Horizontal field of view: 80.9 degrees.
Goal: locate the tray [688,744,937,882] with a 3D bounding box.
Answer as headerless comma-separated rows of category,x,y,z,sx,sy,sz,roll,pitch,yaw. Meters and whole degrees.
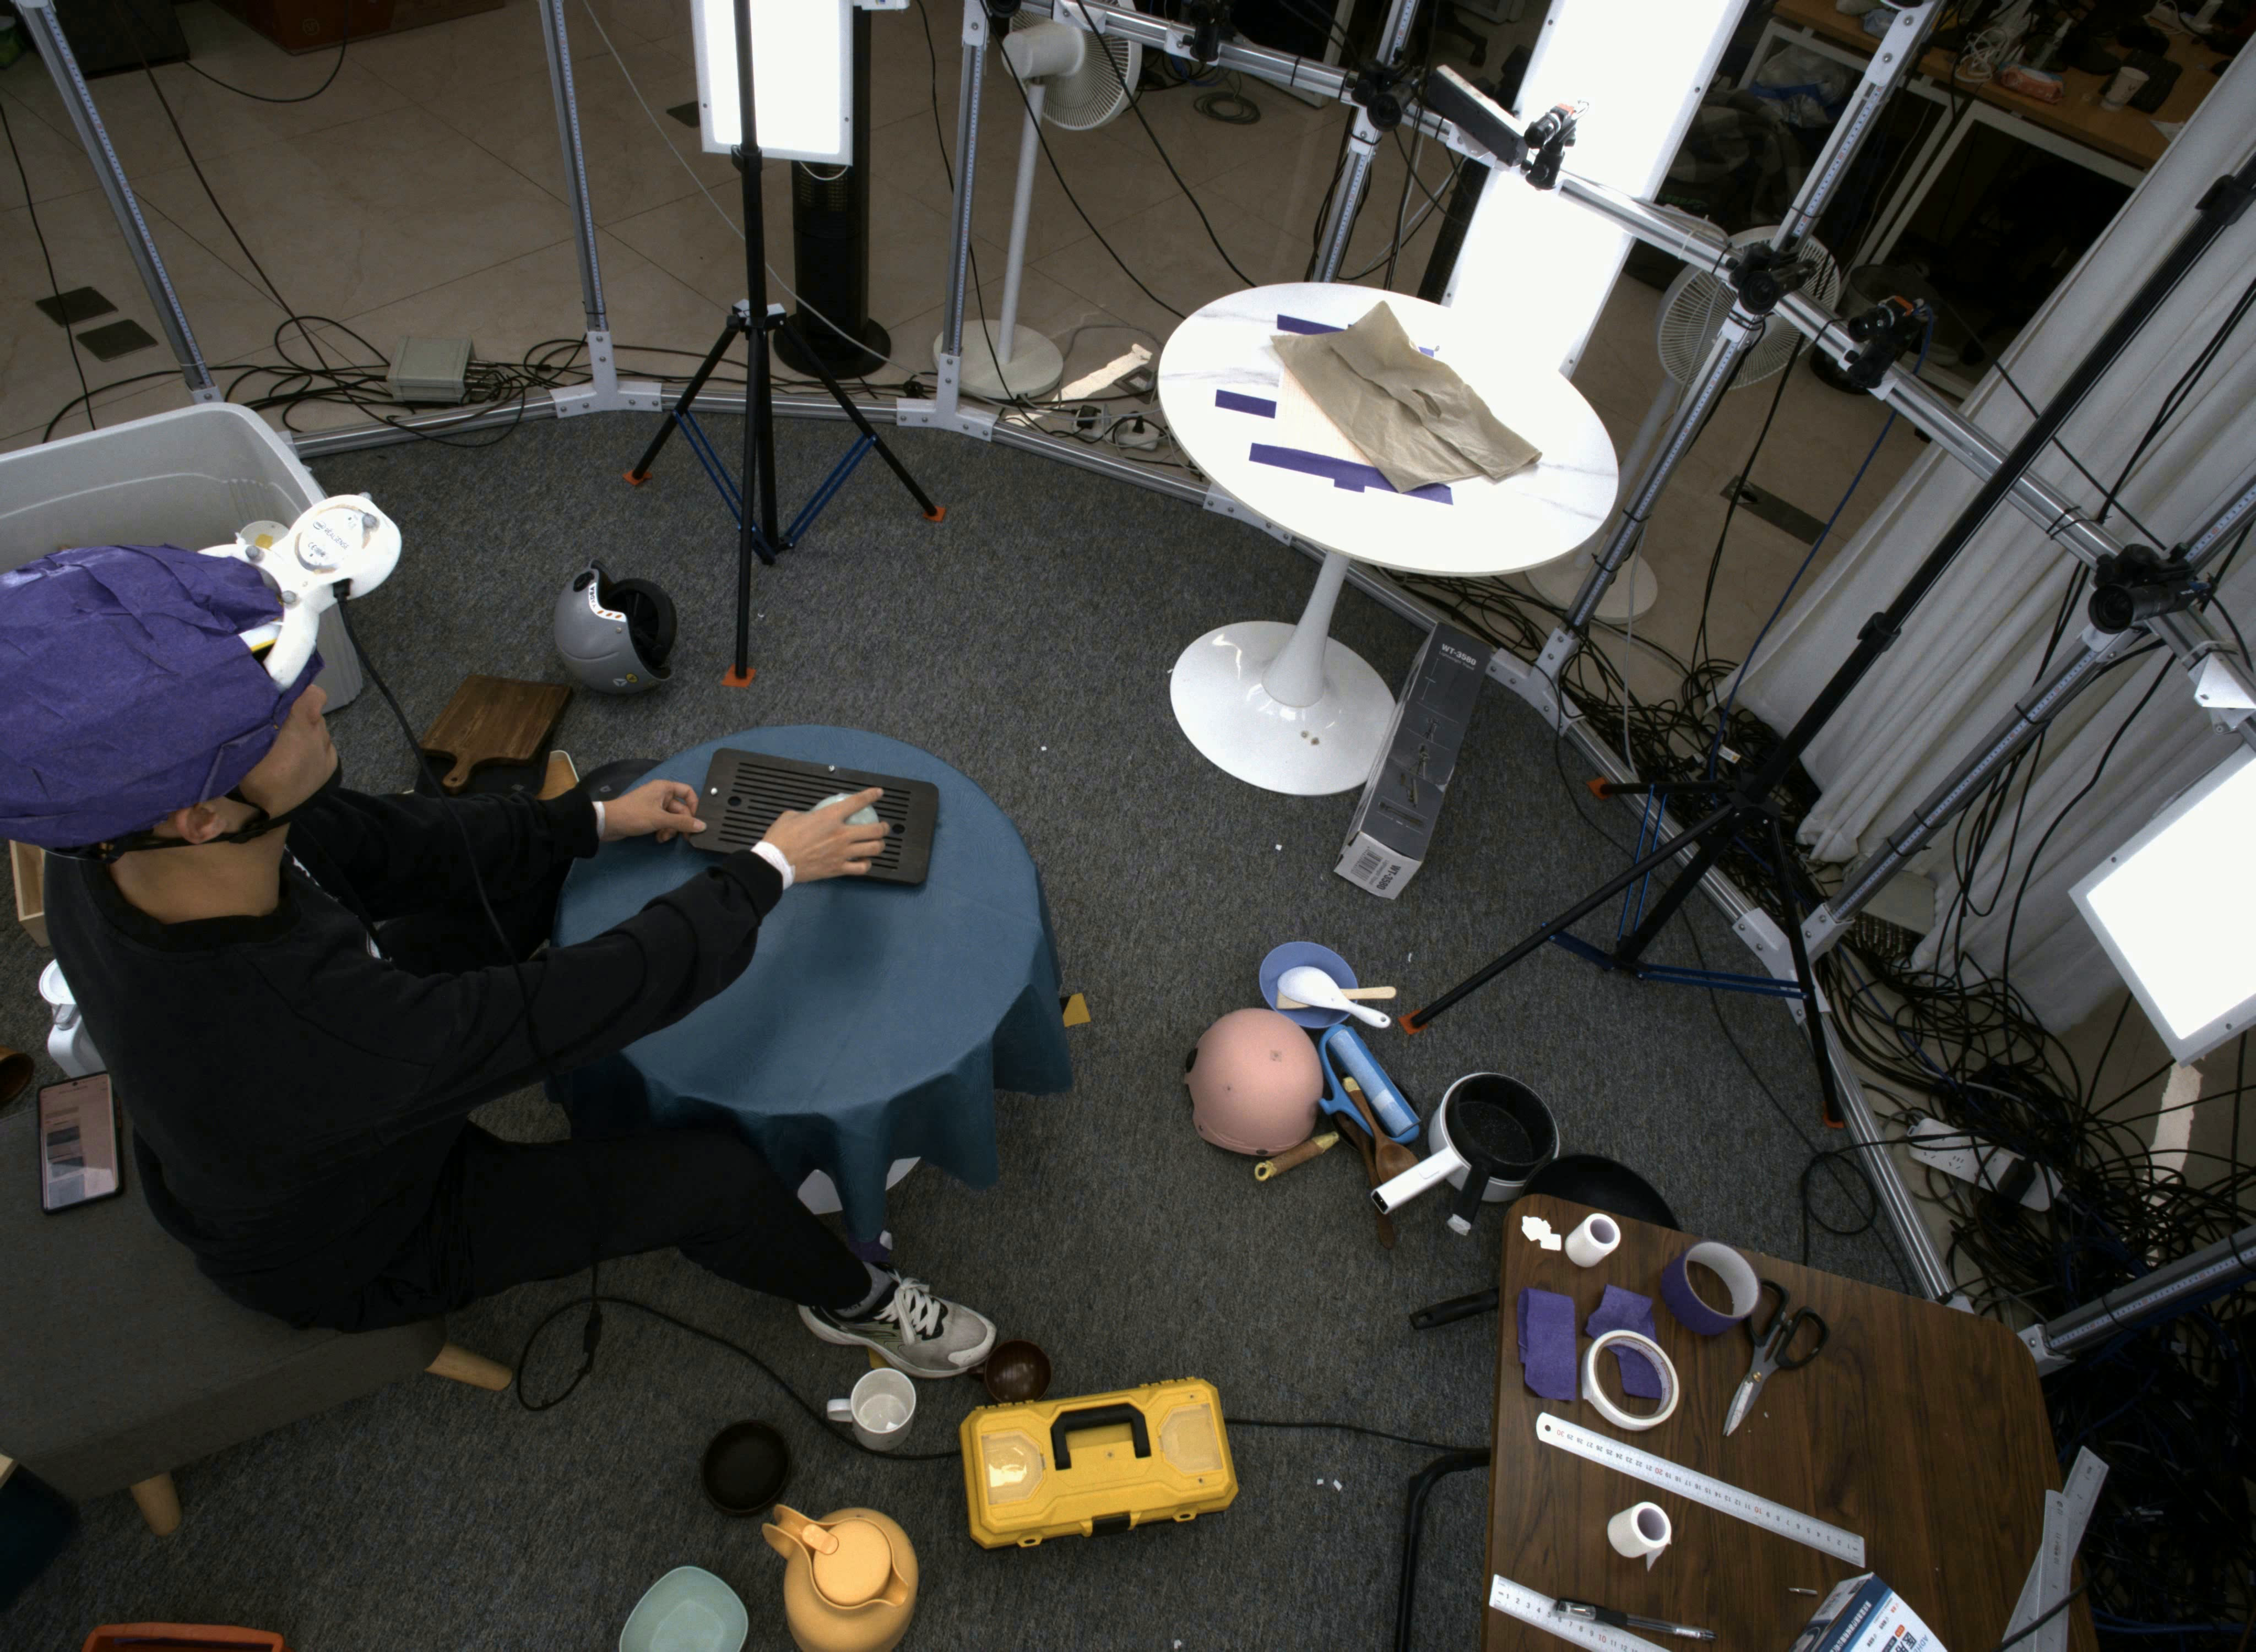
tray,-0.412,-0.016,1.714,0.306,0.019,0.167,10,53,-12

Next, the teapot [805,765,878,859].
teapot,-0.349,-0.004,1.582,0.088,0.147,0.073,-8,55,-17
